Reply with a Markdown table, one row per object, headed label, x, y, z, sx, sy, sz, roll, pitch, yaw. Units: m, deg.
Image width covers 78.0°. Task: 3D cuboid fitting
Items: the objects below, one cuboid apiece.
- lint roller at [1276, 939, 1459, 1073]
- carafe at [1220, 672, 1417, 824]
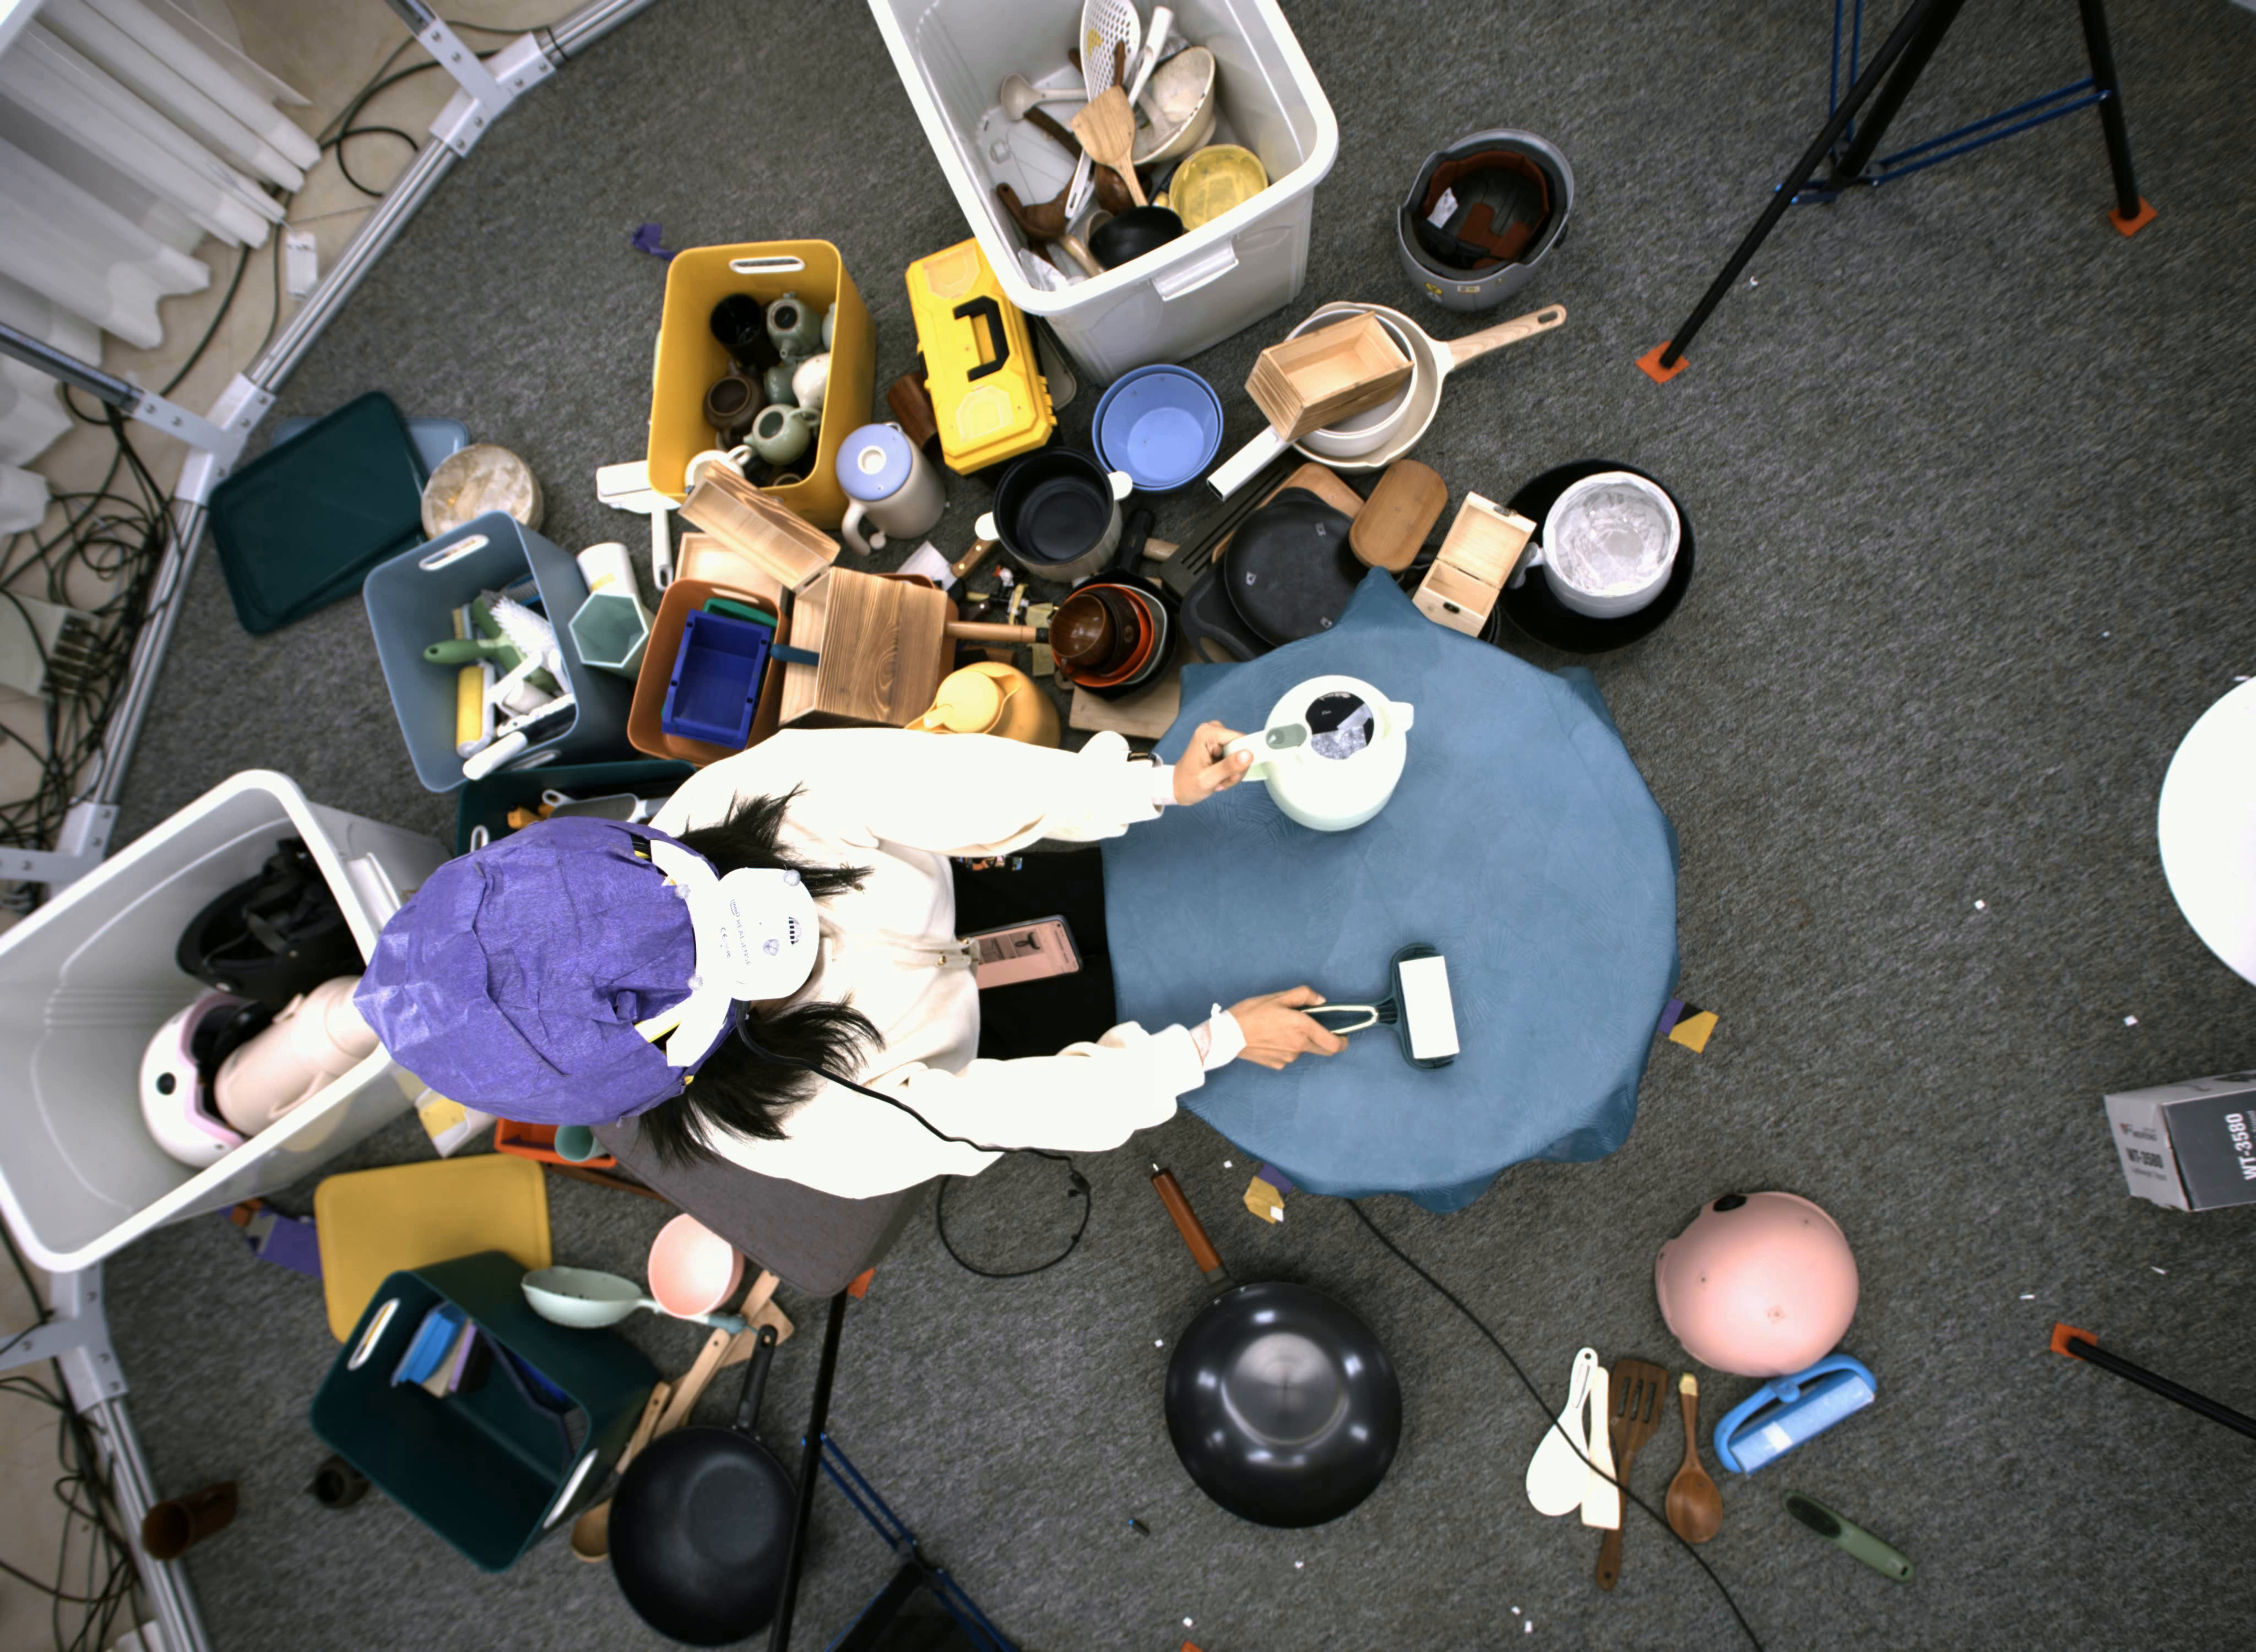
| label | x | y | z | sx | sy | sz | roll | pitch | yaw |
| --- | --- | --- | --- | --- | --- | --- | --- | --- | --- |
| lint roller | 0.243 | 0.193 | 1.422 | 0.180 | 0.048 | 0.133 | -7 | 84 | 0 |
| carafe | 0.188 | -0.079 | 1.354 | 0.188 | 0.256 | 0.143 | -11 | 86 | 9 |
